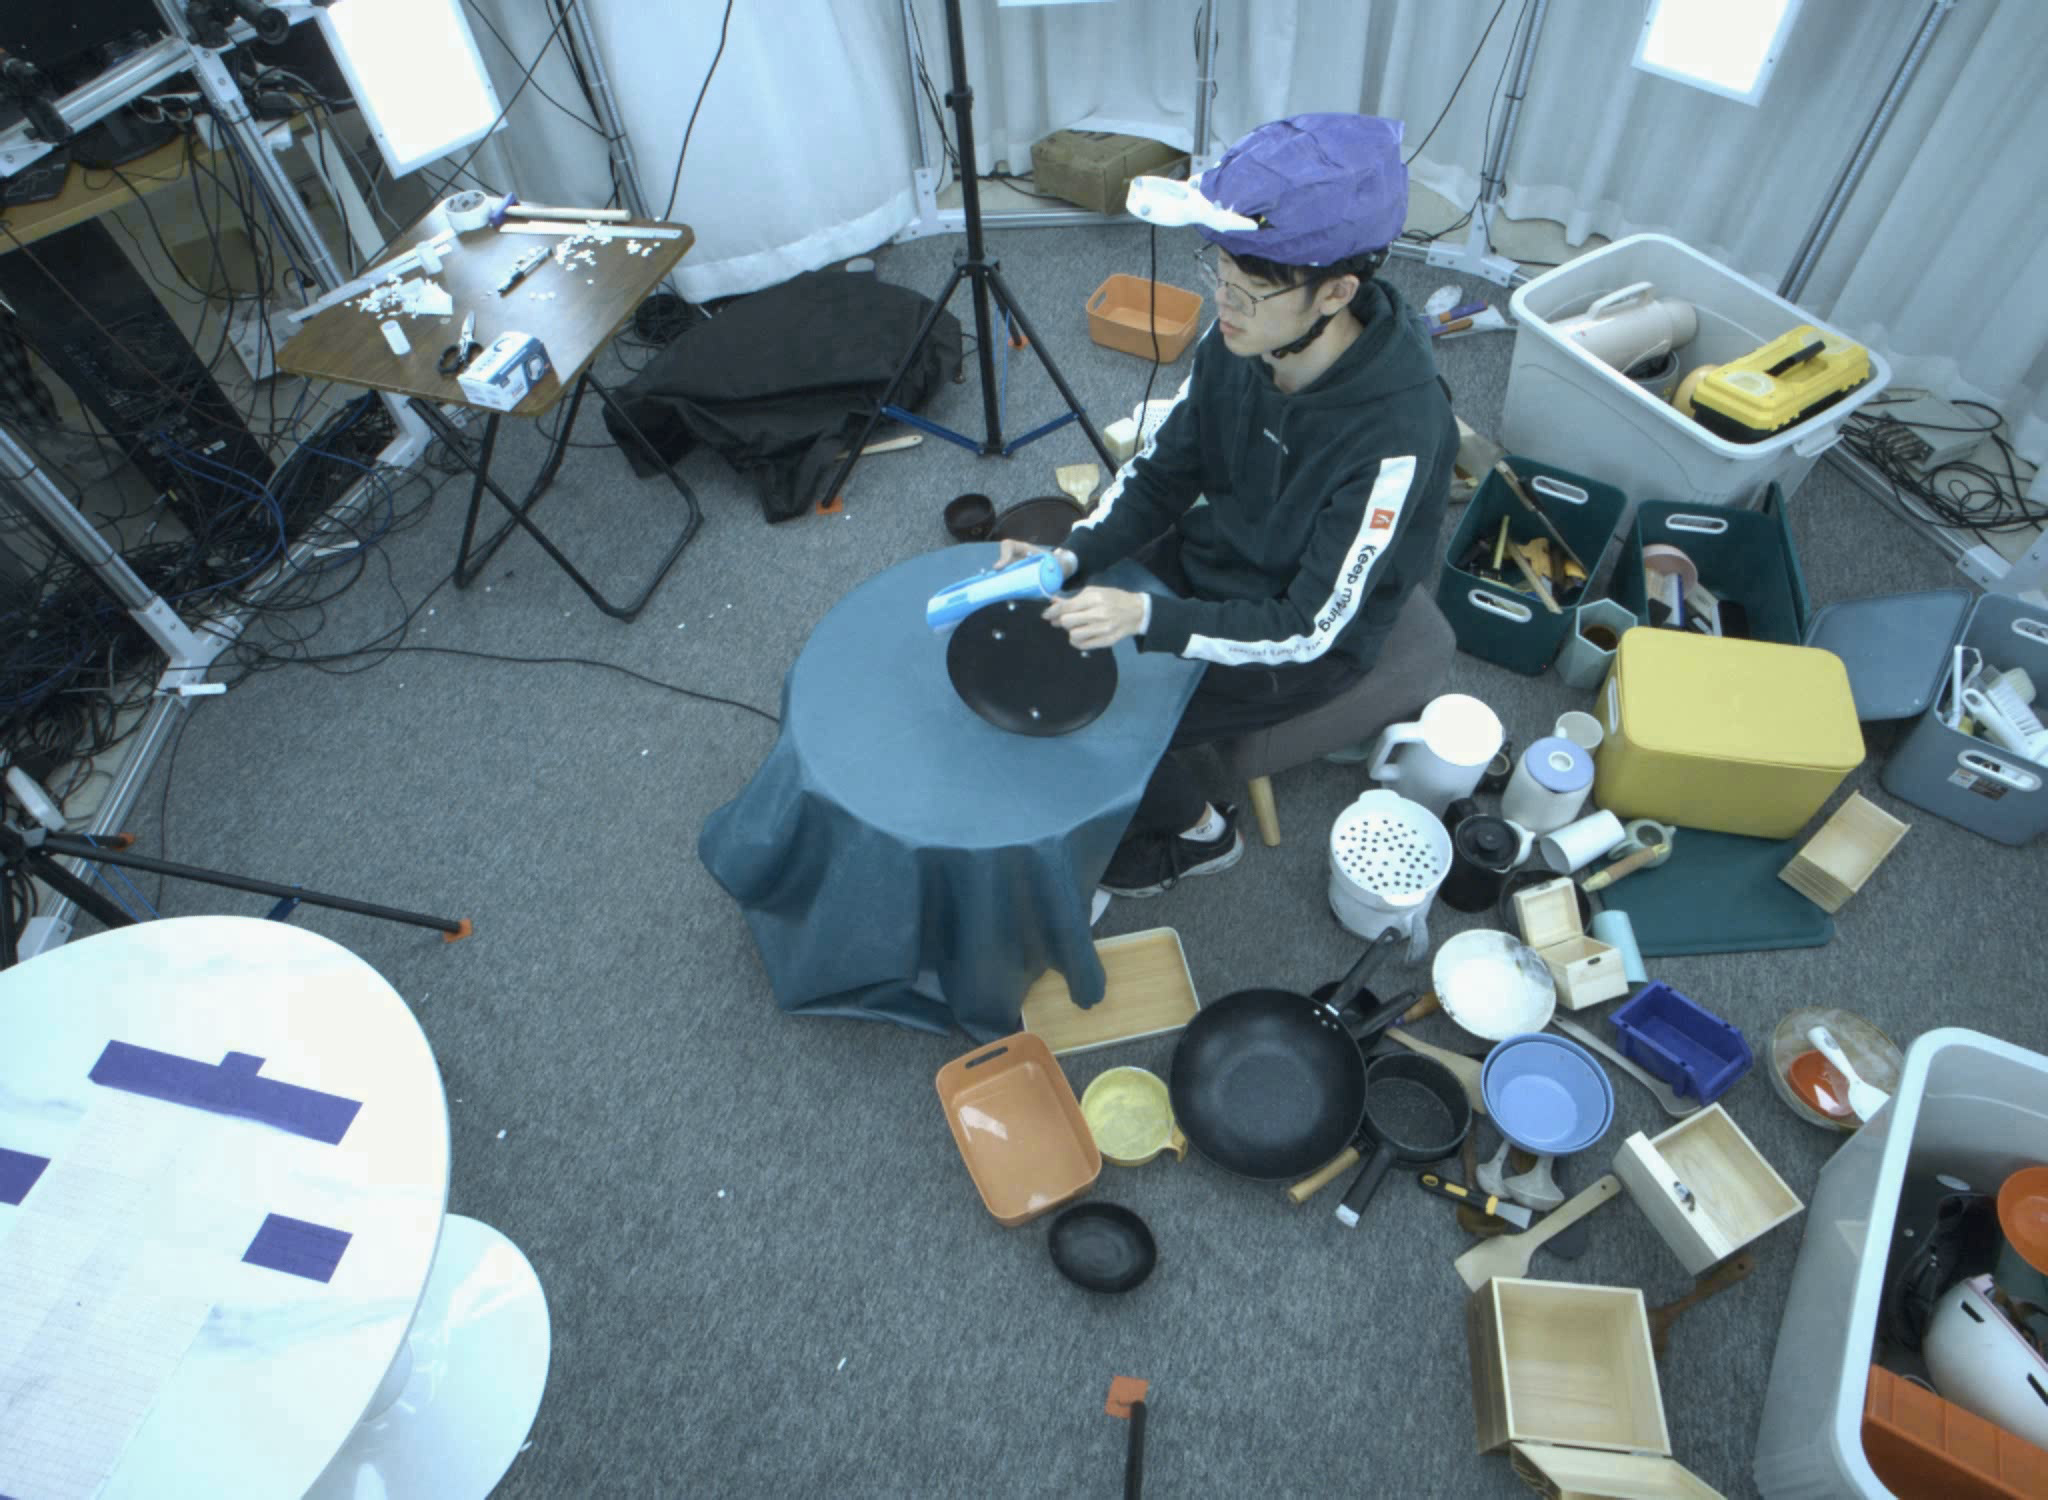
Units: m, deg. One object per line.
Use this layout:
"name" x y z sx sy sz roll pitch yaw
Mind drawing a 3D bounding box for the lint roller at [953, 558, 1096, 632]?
"lint roller" 0.024 -0.225 1.739 0.225 0.068 0.182 -12 11 30

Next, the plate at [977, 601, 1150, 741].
"plate" 0.055 -0.111 1.716 0.243 0.247 0.023 6 43 7
